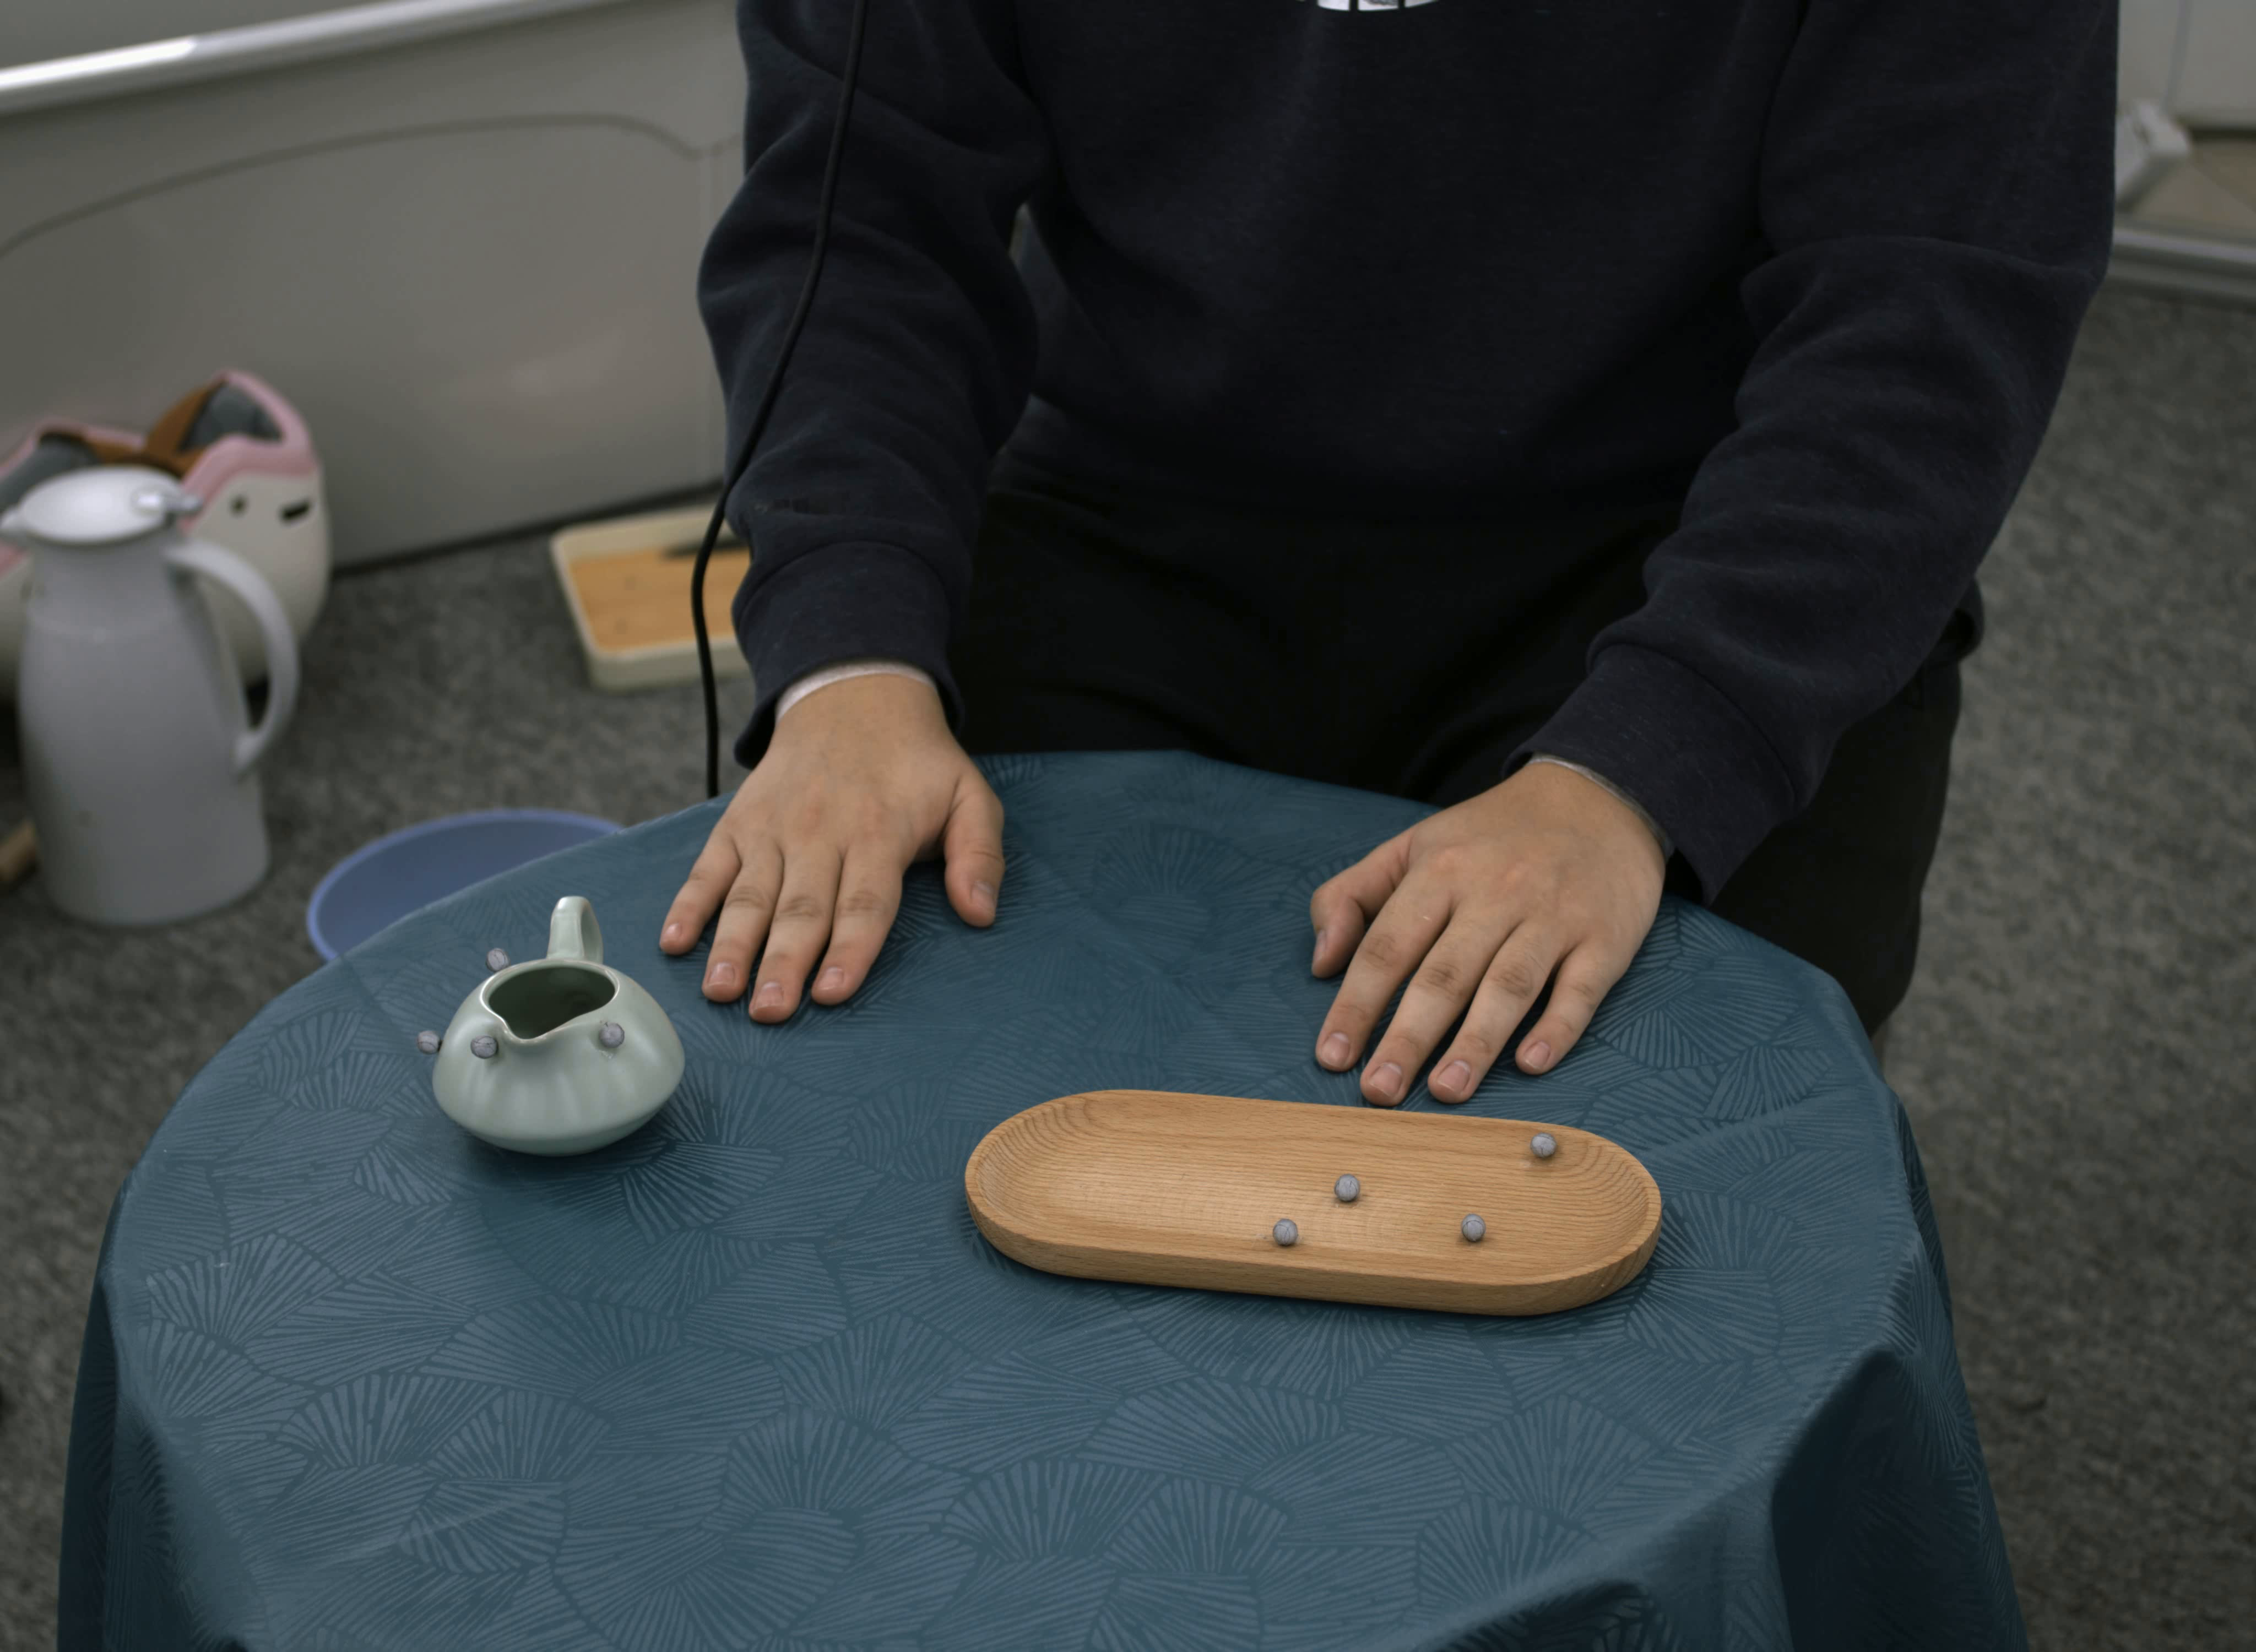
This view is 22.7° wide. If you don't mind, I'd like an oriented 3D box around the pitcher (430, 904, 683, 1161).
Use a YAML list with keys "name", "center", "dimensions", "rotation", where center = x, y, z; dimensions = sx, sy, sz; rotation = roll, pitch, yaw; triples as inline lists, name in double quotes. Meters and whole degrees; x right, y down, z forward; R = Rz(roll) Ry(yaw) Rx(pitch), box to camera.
- name: "pitcher"
  center: [-0.194, 0.072, 1.918]
  dimensions: [0.085, 0.060, 0.109]
  rotation: [0, 25, 3]

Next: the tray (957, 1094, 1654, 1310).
- name: "tray"
  center: [0.057, 0.123, 1.840]
  dimensions: [0.229, 0.020, 0.103]
  rotation: [2, 26, 13]
